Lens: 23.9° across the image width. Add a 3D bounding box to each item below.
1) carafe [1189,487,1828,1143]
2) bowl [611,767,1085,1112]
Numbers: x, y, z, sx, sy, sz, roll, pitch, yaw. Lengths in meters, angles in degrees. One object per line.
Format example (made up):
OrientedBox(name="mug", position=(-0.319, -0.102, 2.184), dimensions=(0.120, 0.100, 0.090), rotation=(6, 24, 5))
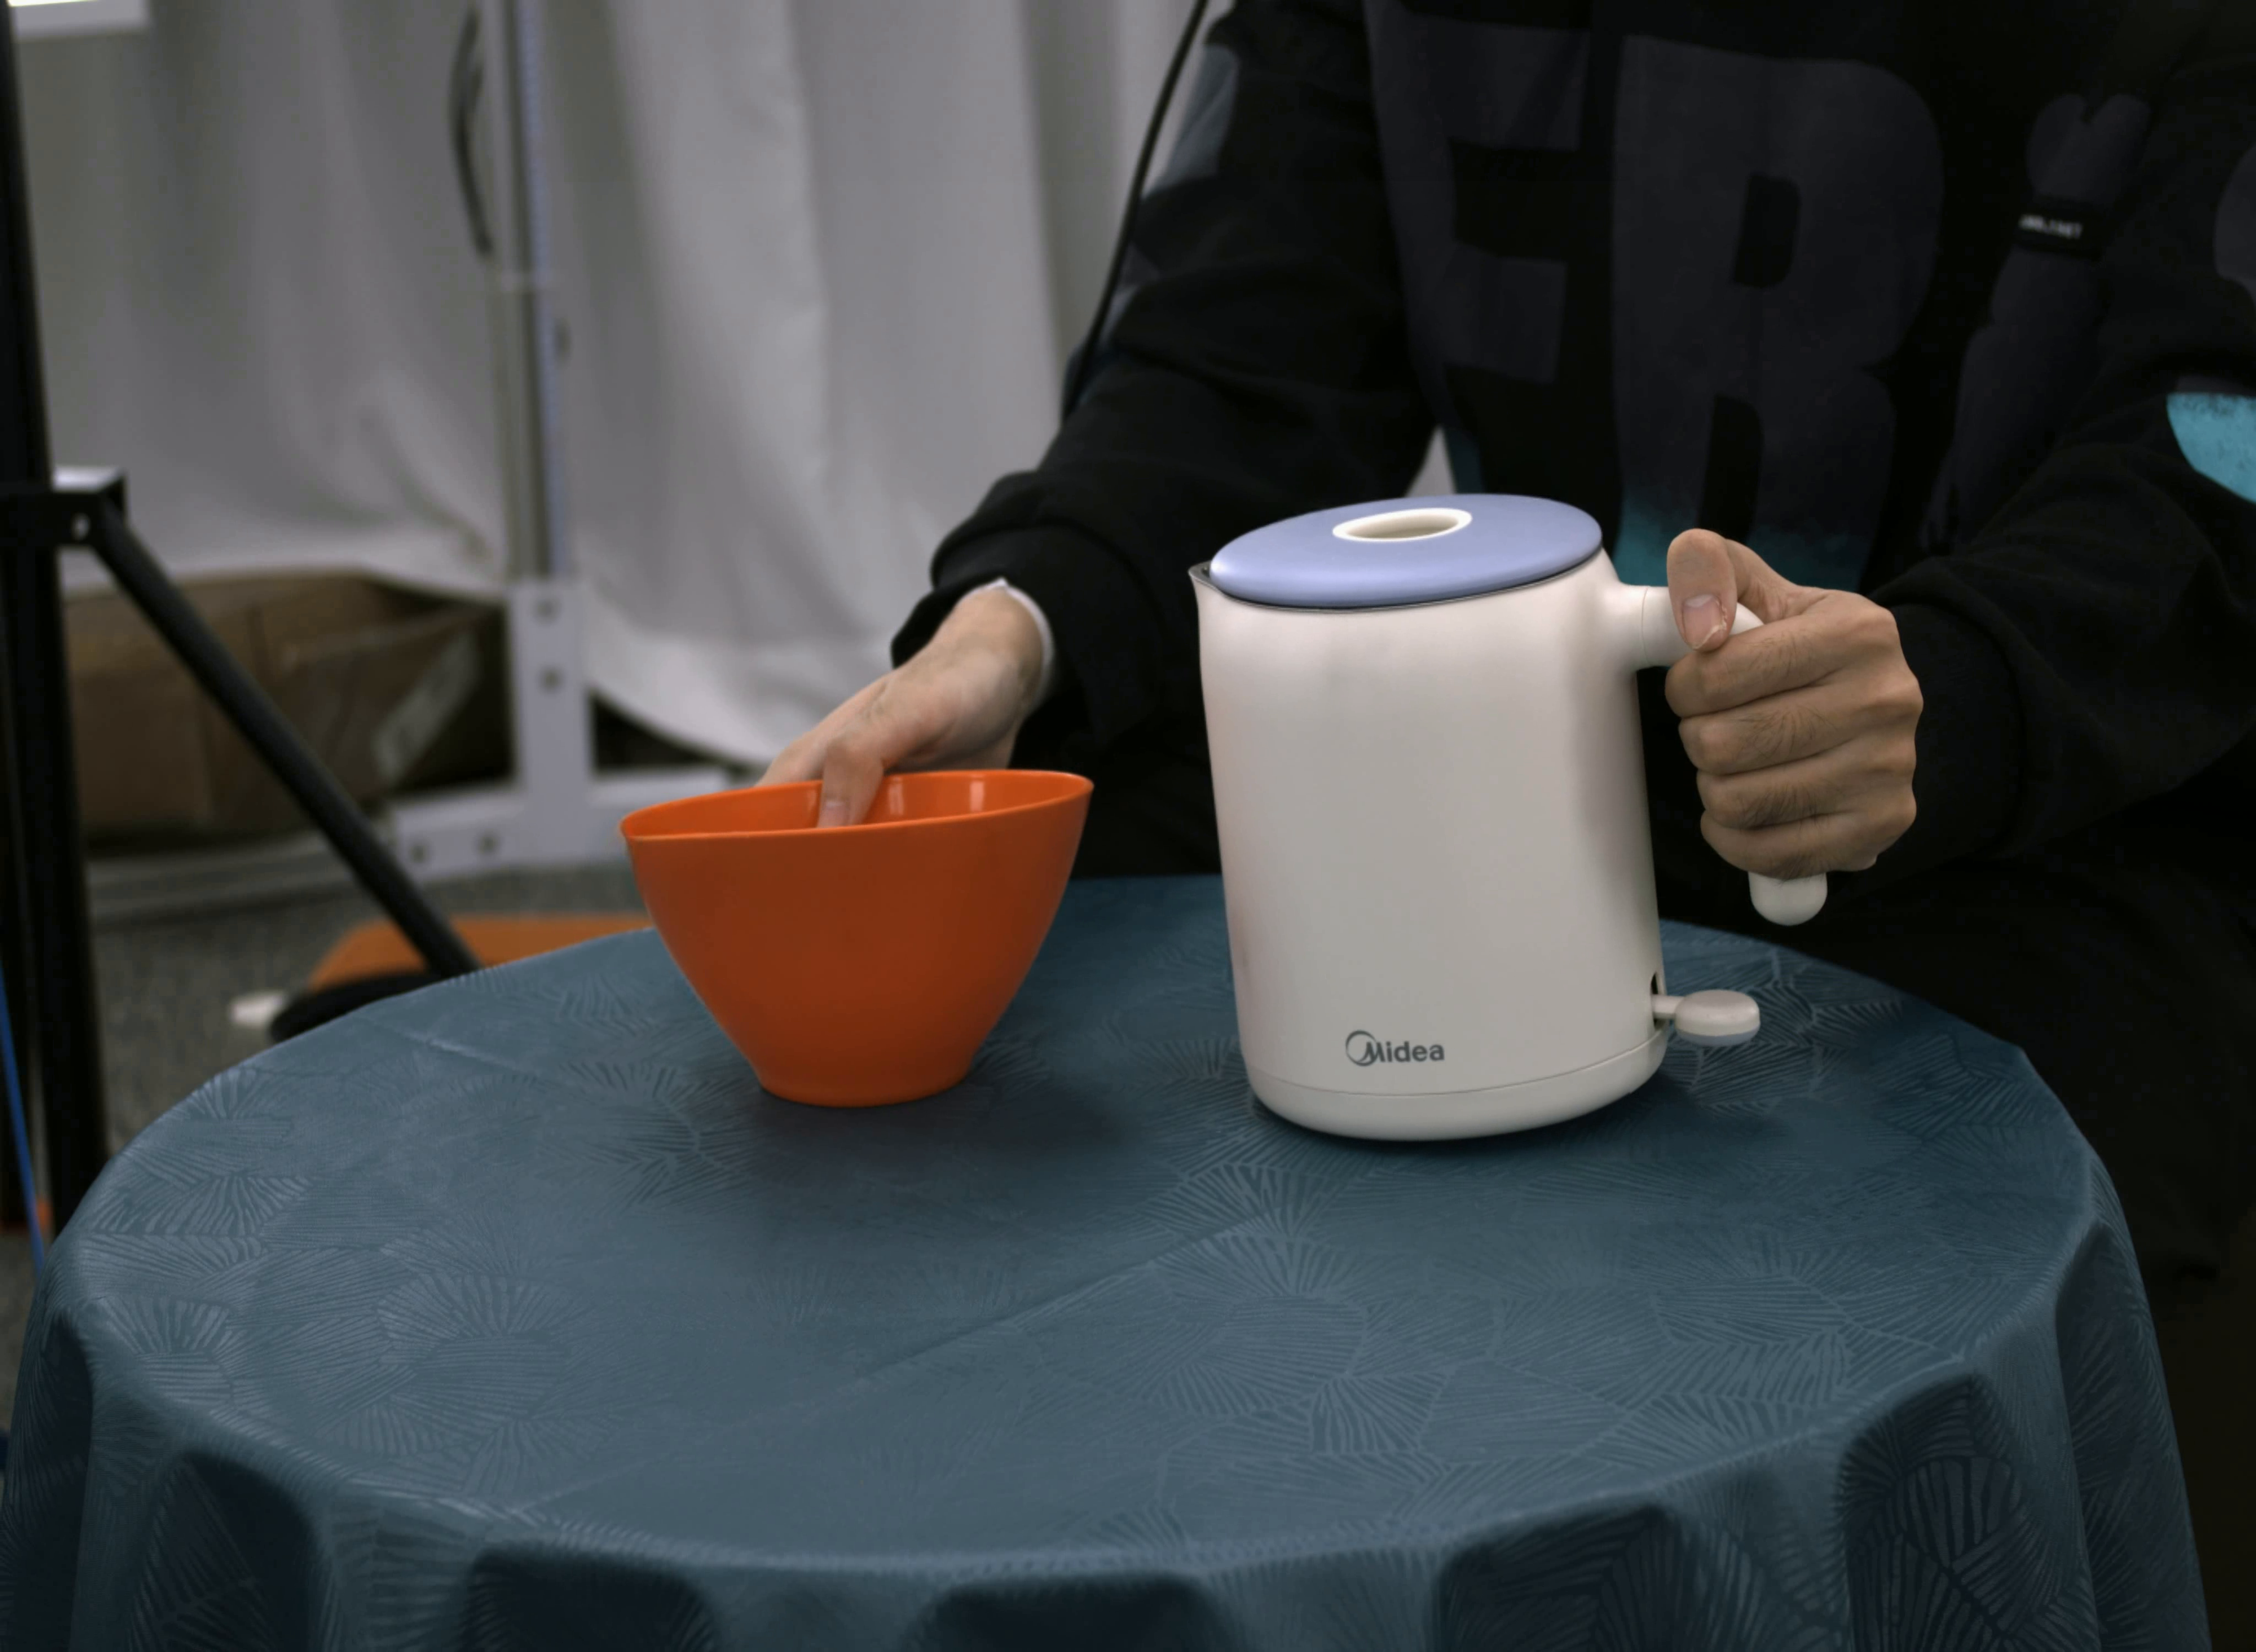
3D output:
OrientedBox(name="carafe", position=(0.115, -0.003, 1.600), dimensions=(0.193, 0.182, 0.131), rotation=(1, 17, 18))
OrientedBox(name="bowl", position=(-0.085, 0.033, 1.653), dimensions=(0.147, 0.104, 0.149), rotation=(-3, 16, 0))
